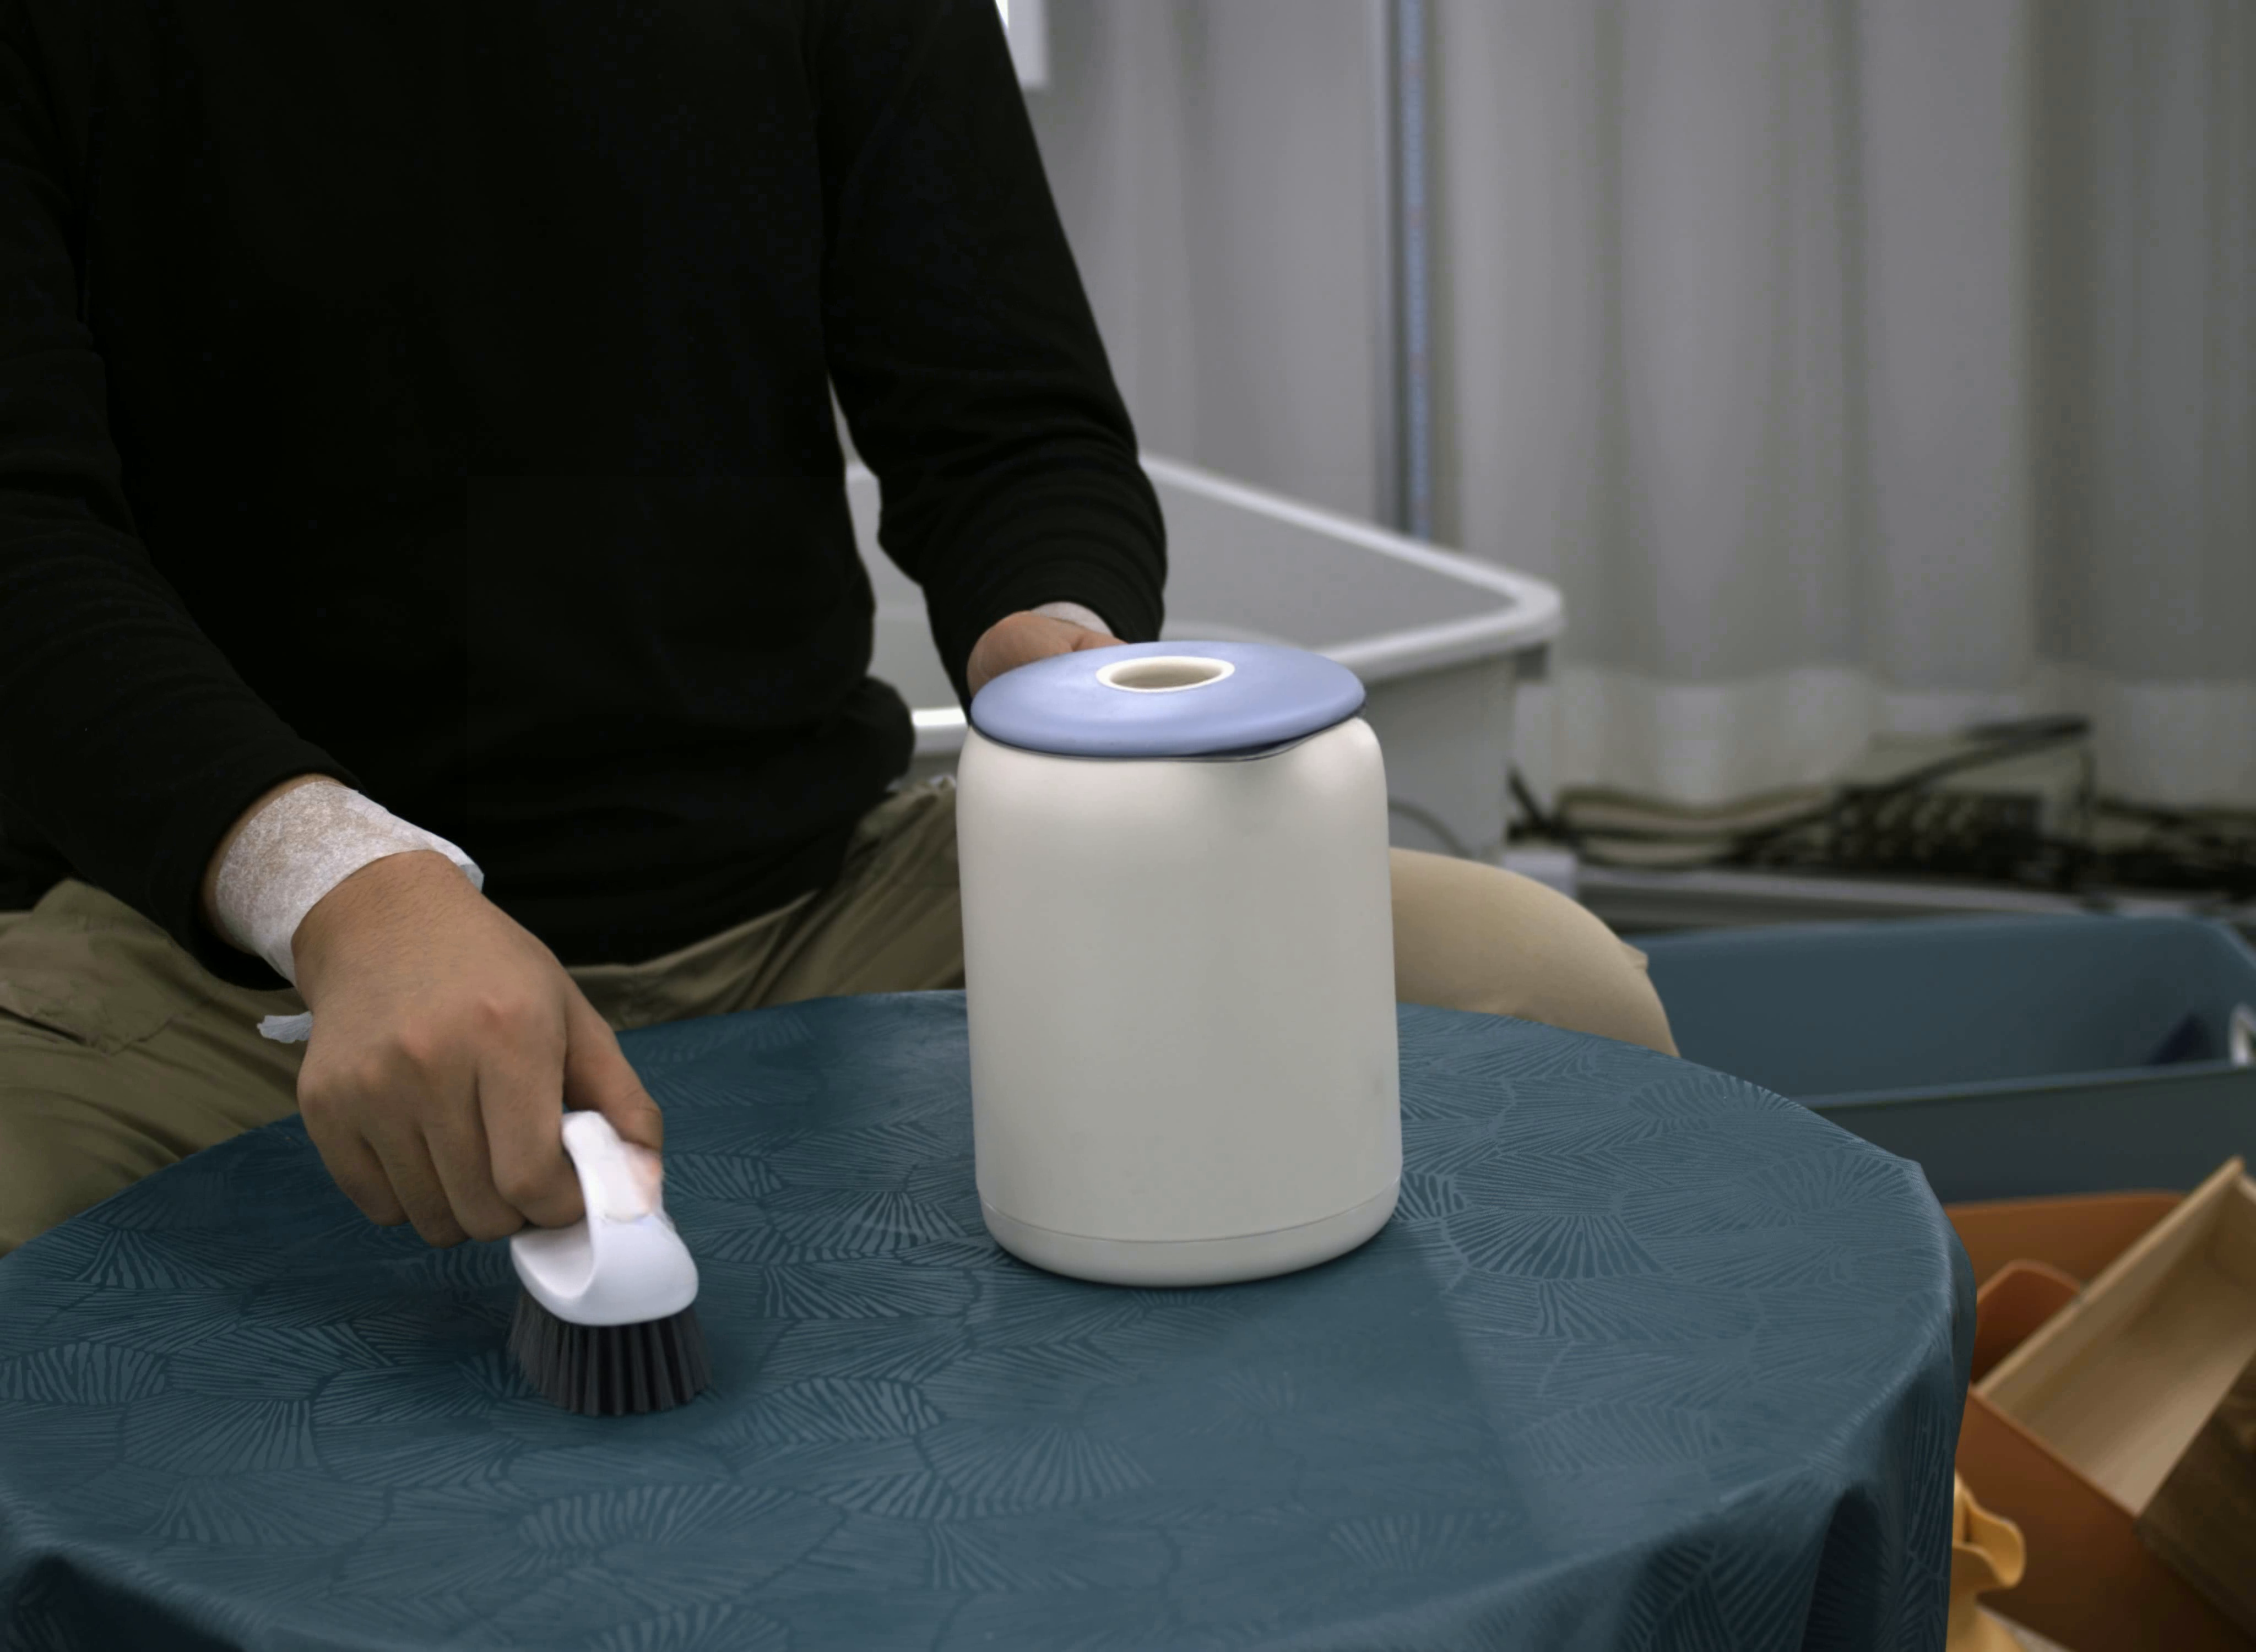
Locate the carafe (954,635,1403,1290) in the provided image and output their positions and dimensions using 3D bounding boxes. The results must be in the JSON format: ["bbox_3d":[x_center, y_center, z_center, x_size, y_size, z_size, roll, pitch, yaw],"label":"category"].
[{"bbox_3d":[0.006,0.035,1.683,0.131,0.182,0.192,-8,14,-22],"label":"carafe"}]

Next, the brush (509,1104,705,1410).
[{"bbox_3d":[-0.153,0.119,1.582,0.050,0.072,0.100,-7,15,-12],"label":"brush"}]
